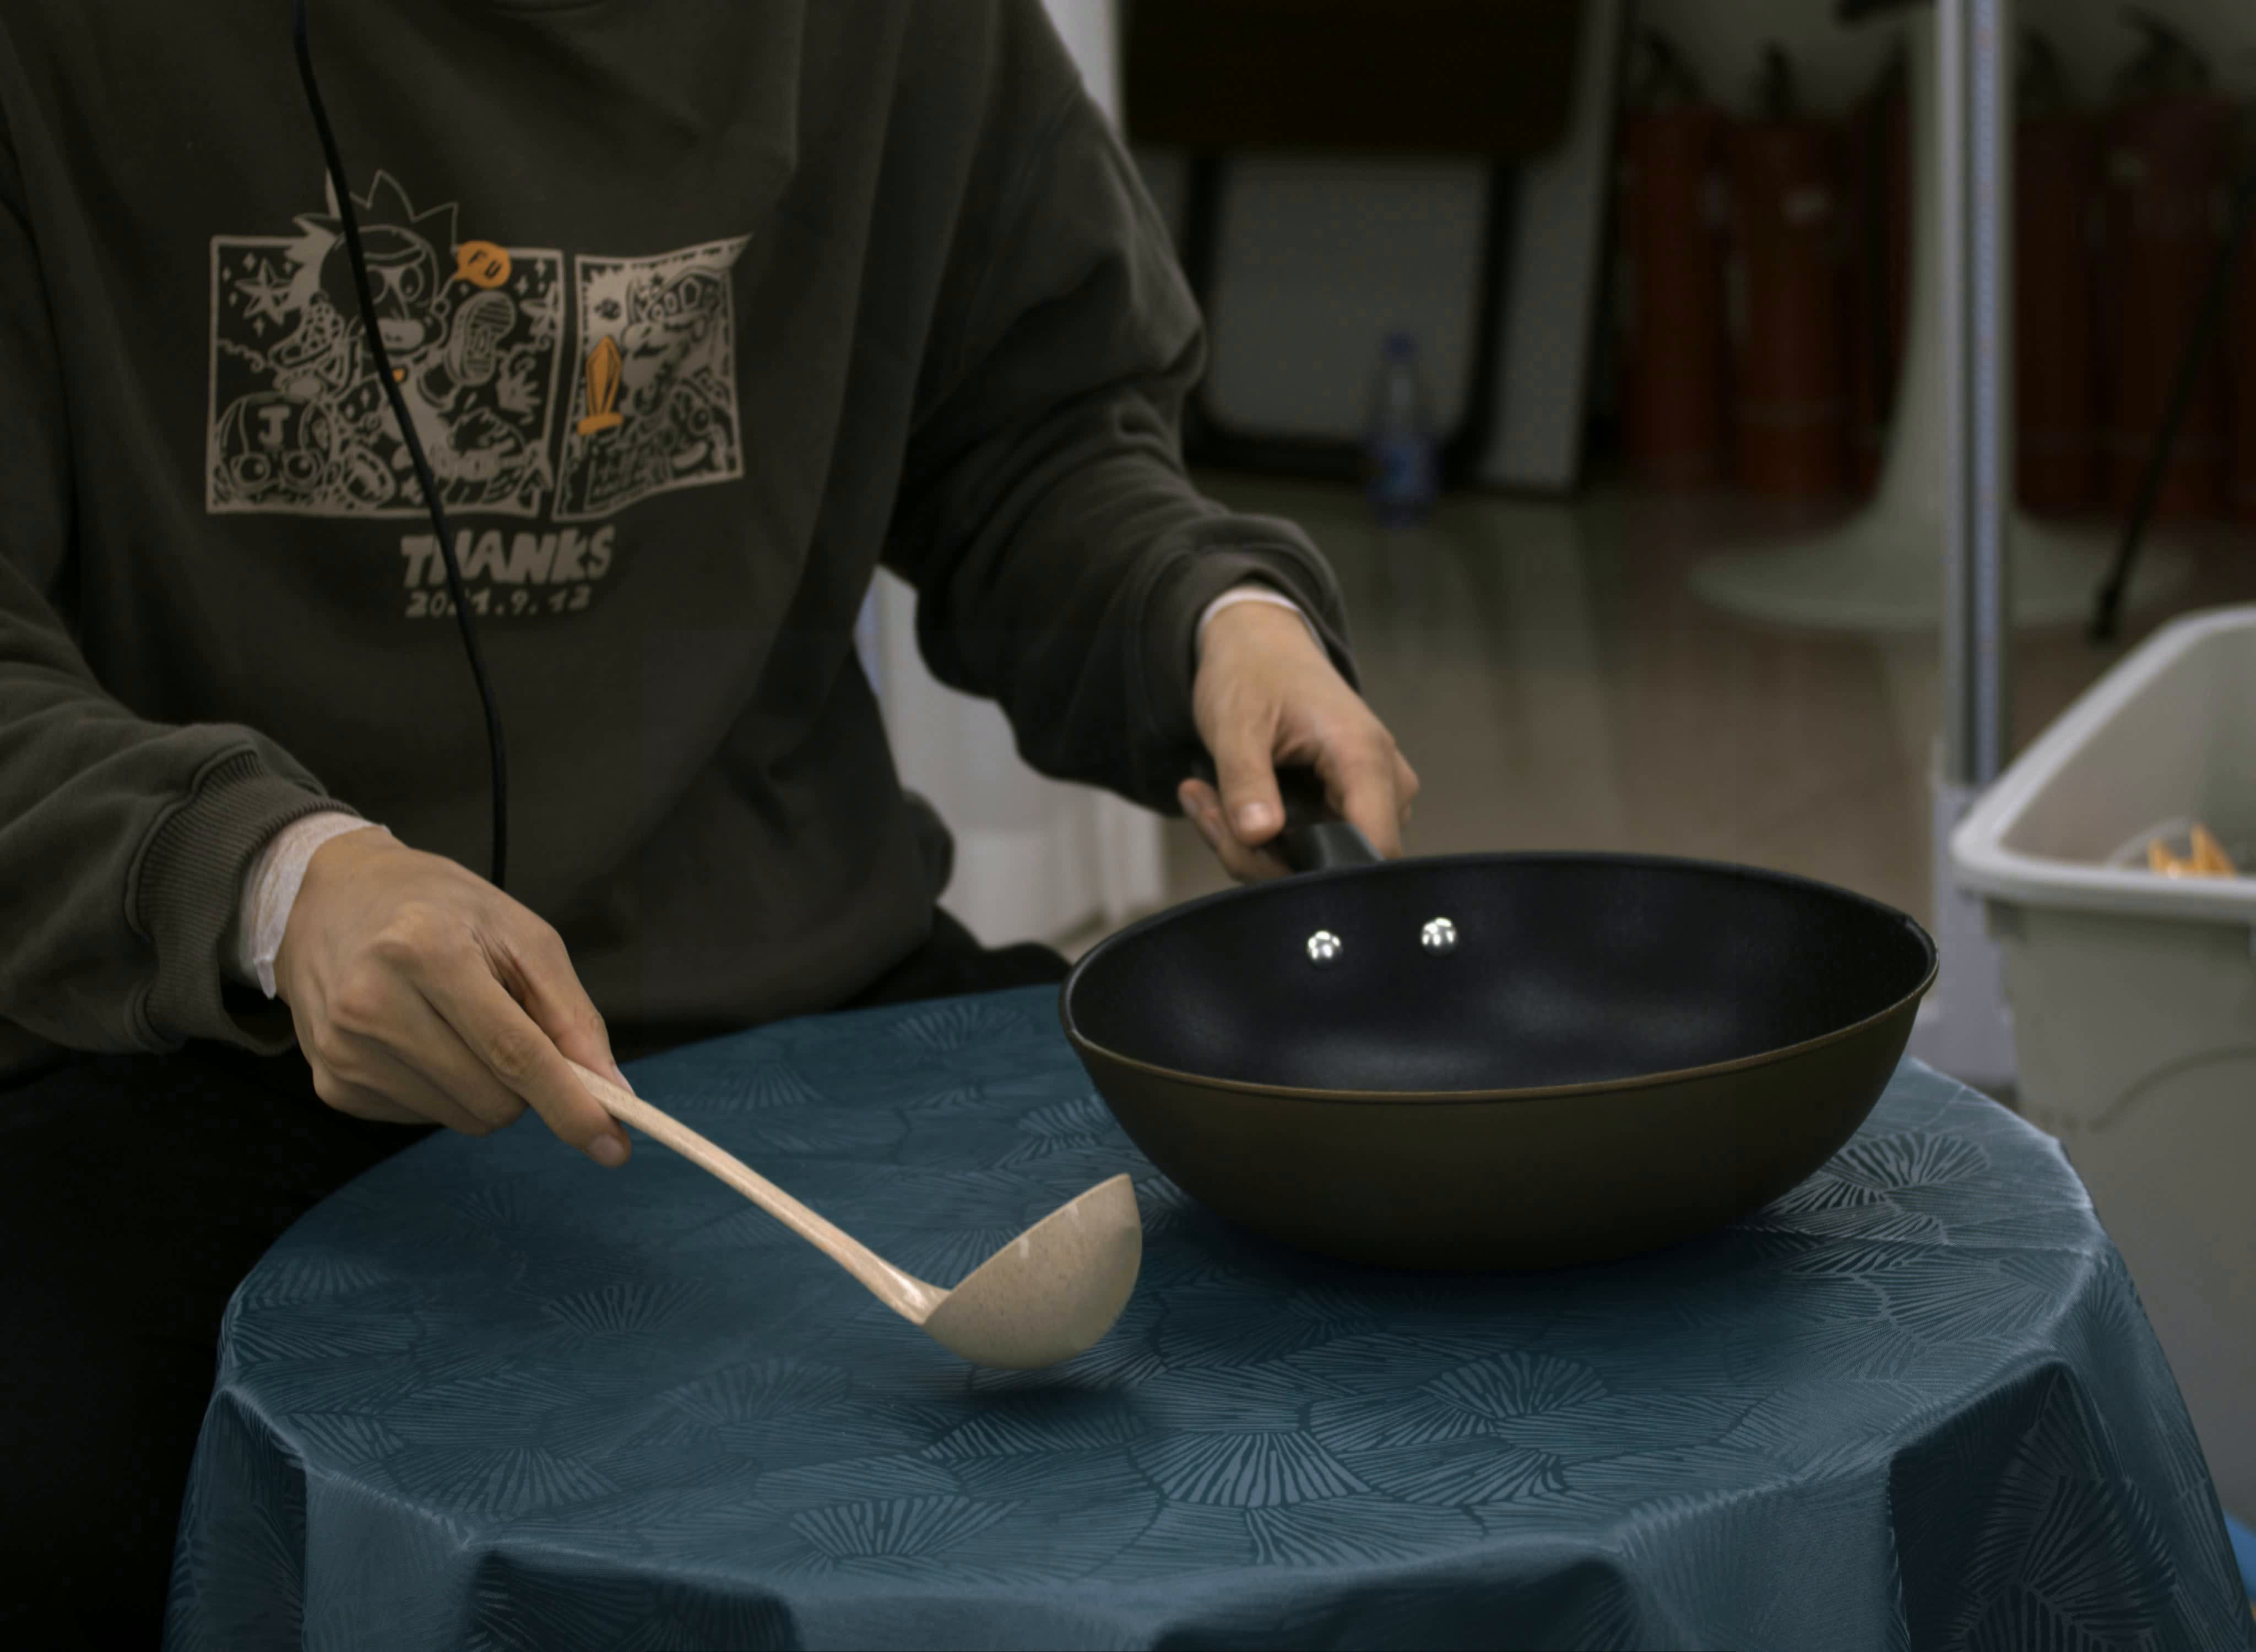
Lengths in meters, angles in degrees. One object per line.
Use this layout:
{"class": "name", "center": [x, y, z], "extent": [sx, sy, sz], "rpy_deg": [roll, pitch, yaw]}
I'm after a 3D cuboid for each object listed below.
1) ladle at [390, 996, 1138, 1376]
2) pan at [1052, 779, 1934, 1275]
{"class": "ladle", "center": [-0.110, 0.081, 1.613], "extent": [0.255, 0.073, 0.071], "rpy_deg": [29, 24, 20]}
{"class": "pan", "center": [0.095, 0.064, 1.810], "extent": [0.283, 0.088, 0.467], "rpy_deg": [-7, 13, -13]}
